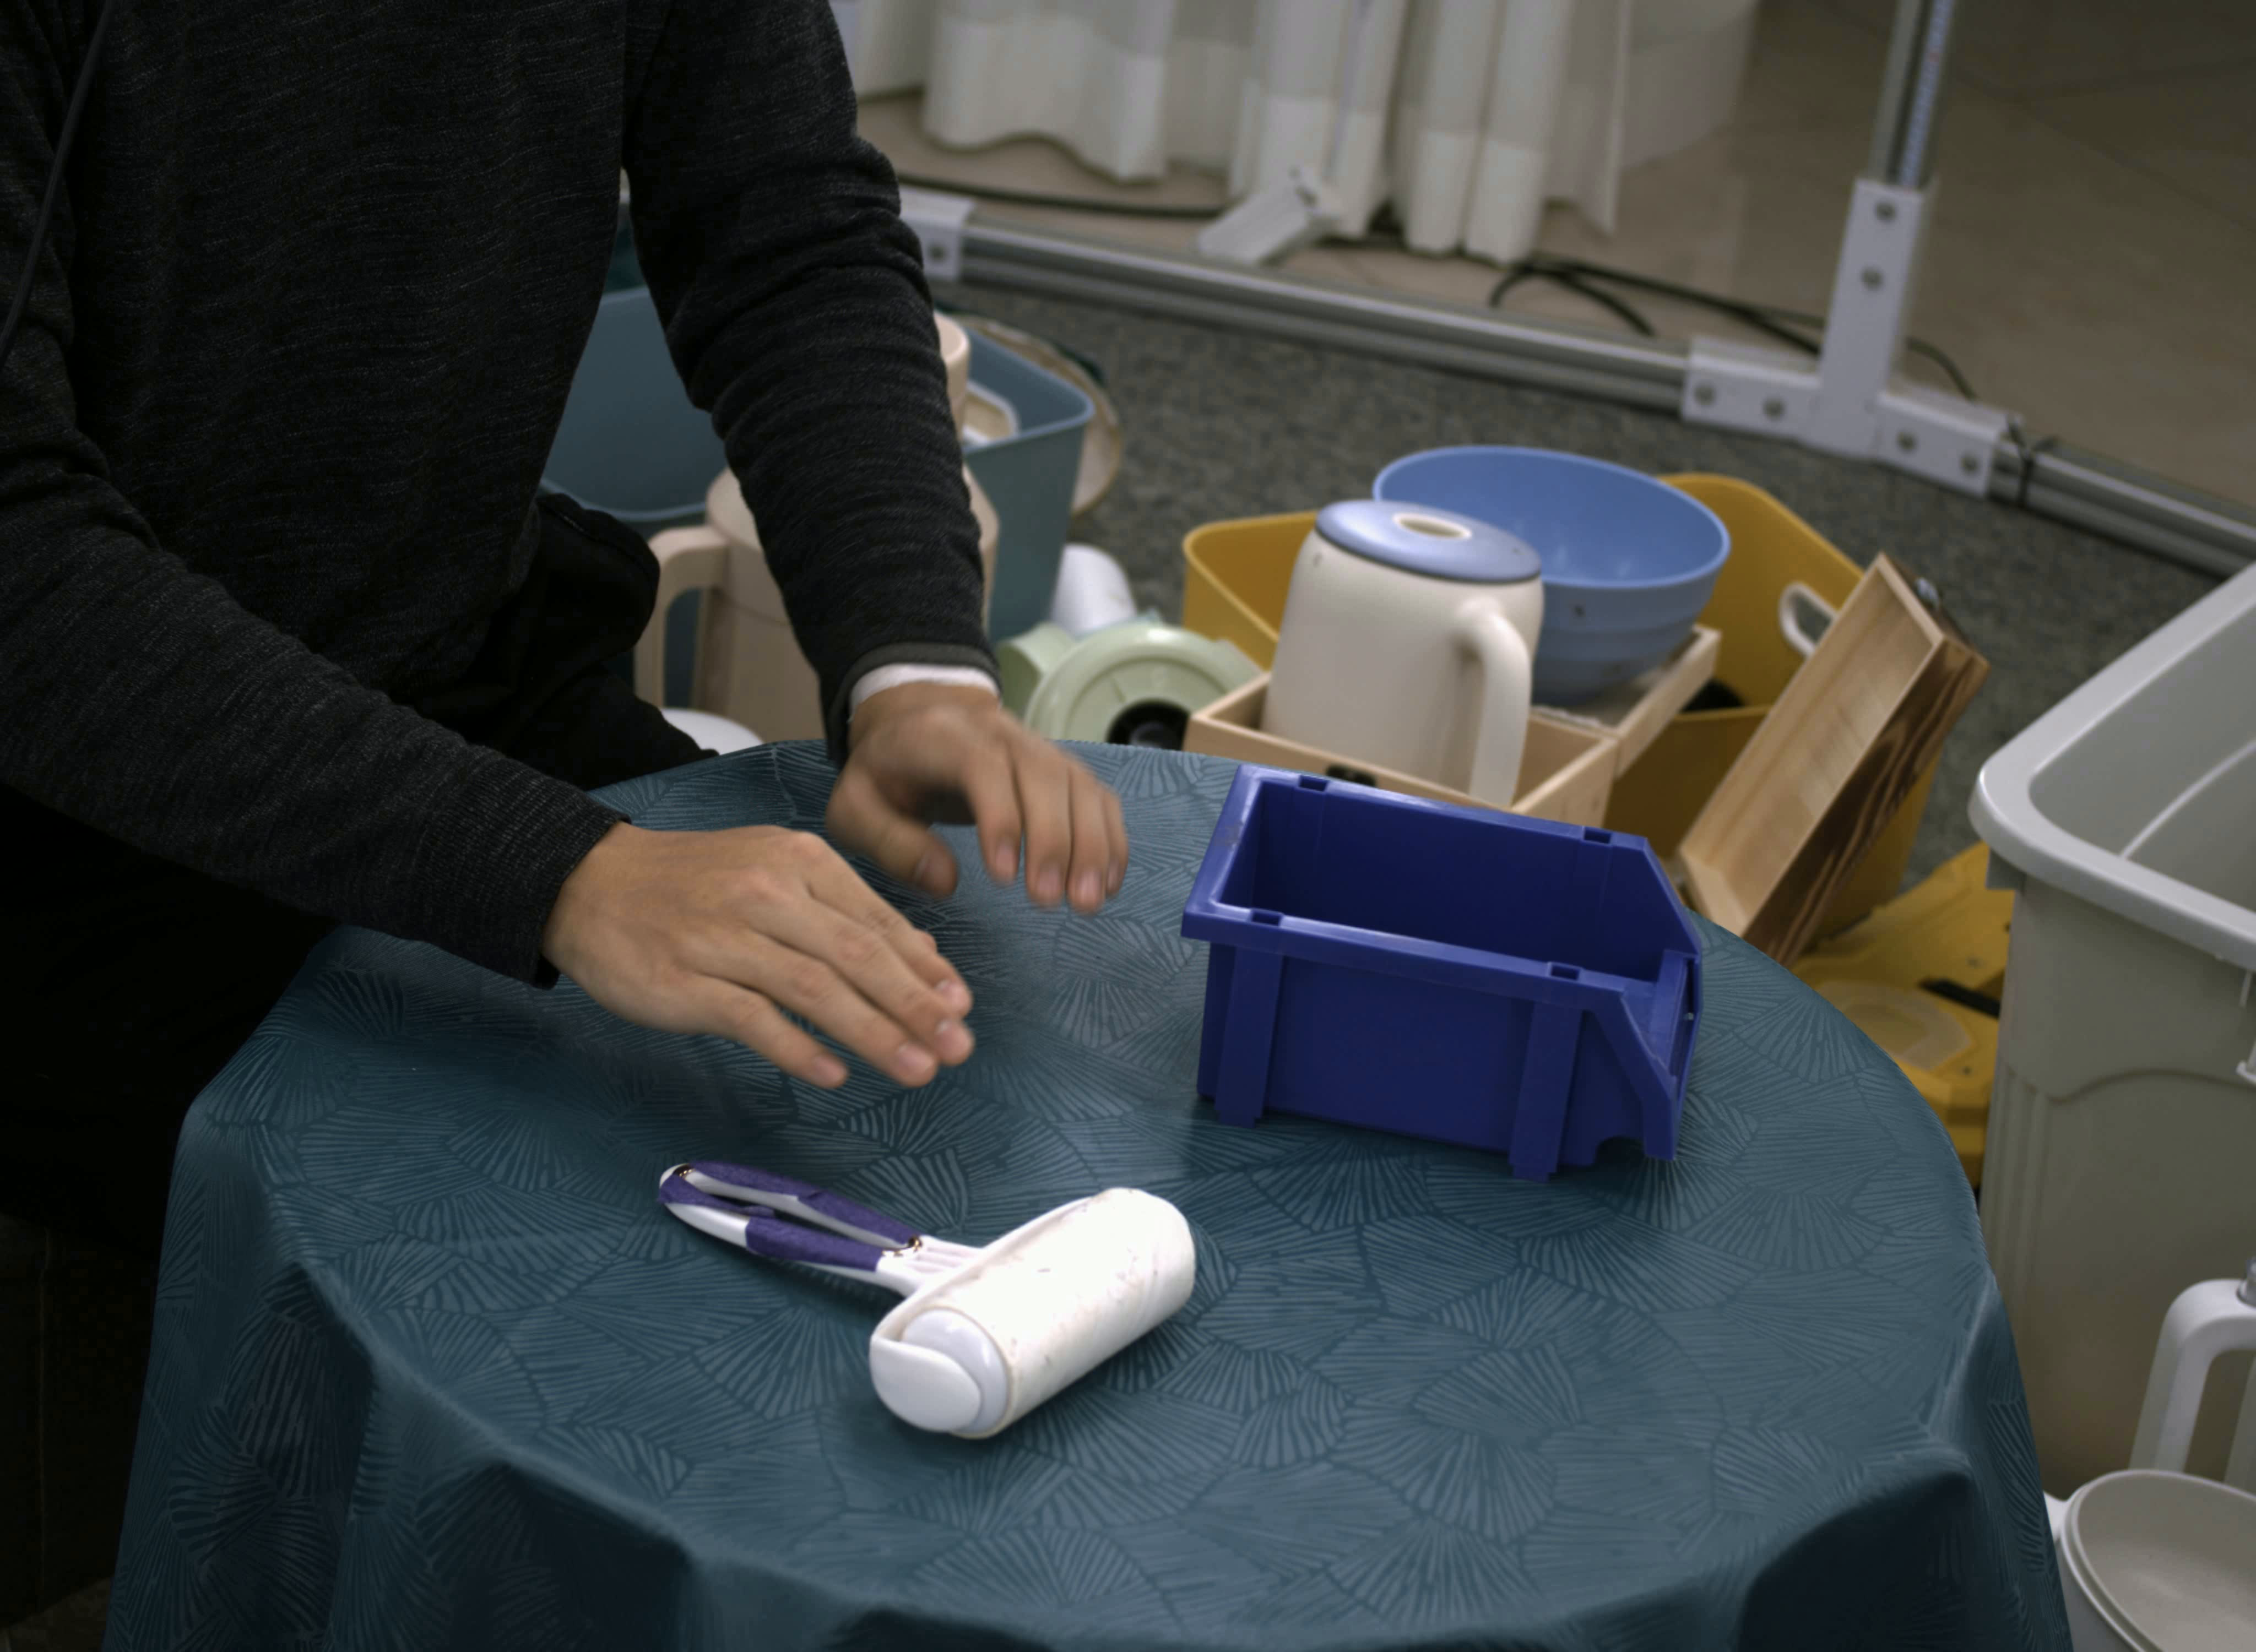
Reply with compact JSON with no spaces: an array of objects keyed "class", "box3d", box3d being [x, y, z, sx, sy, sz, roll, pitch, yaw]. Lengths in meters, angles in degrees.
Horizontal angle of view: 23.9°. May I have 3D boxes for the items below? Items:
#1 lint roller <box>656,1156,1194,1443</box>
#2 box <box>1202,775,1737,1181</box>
[{"class":"lint roller","box3d":[-0.078,0.131,1.719,0.182,0.050,0.132,26,34,30]},{"class":"box","box3d":[0.123,0.054,1.876,0.179,0.081,0.125,8,26,9]}]
